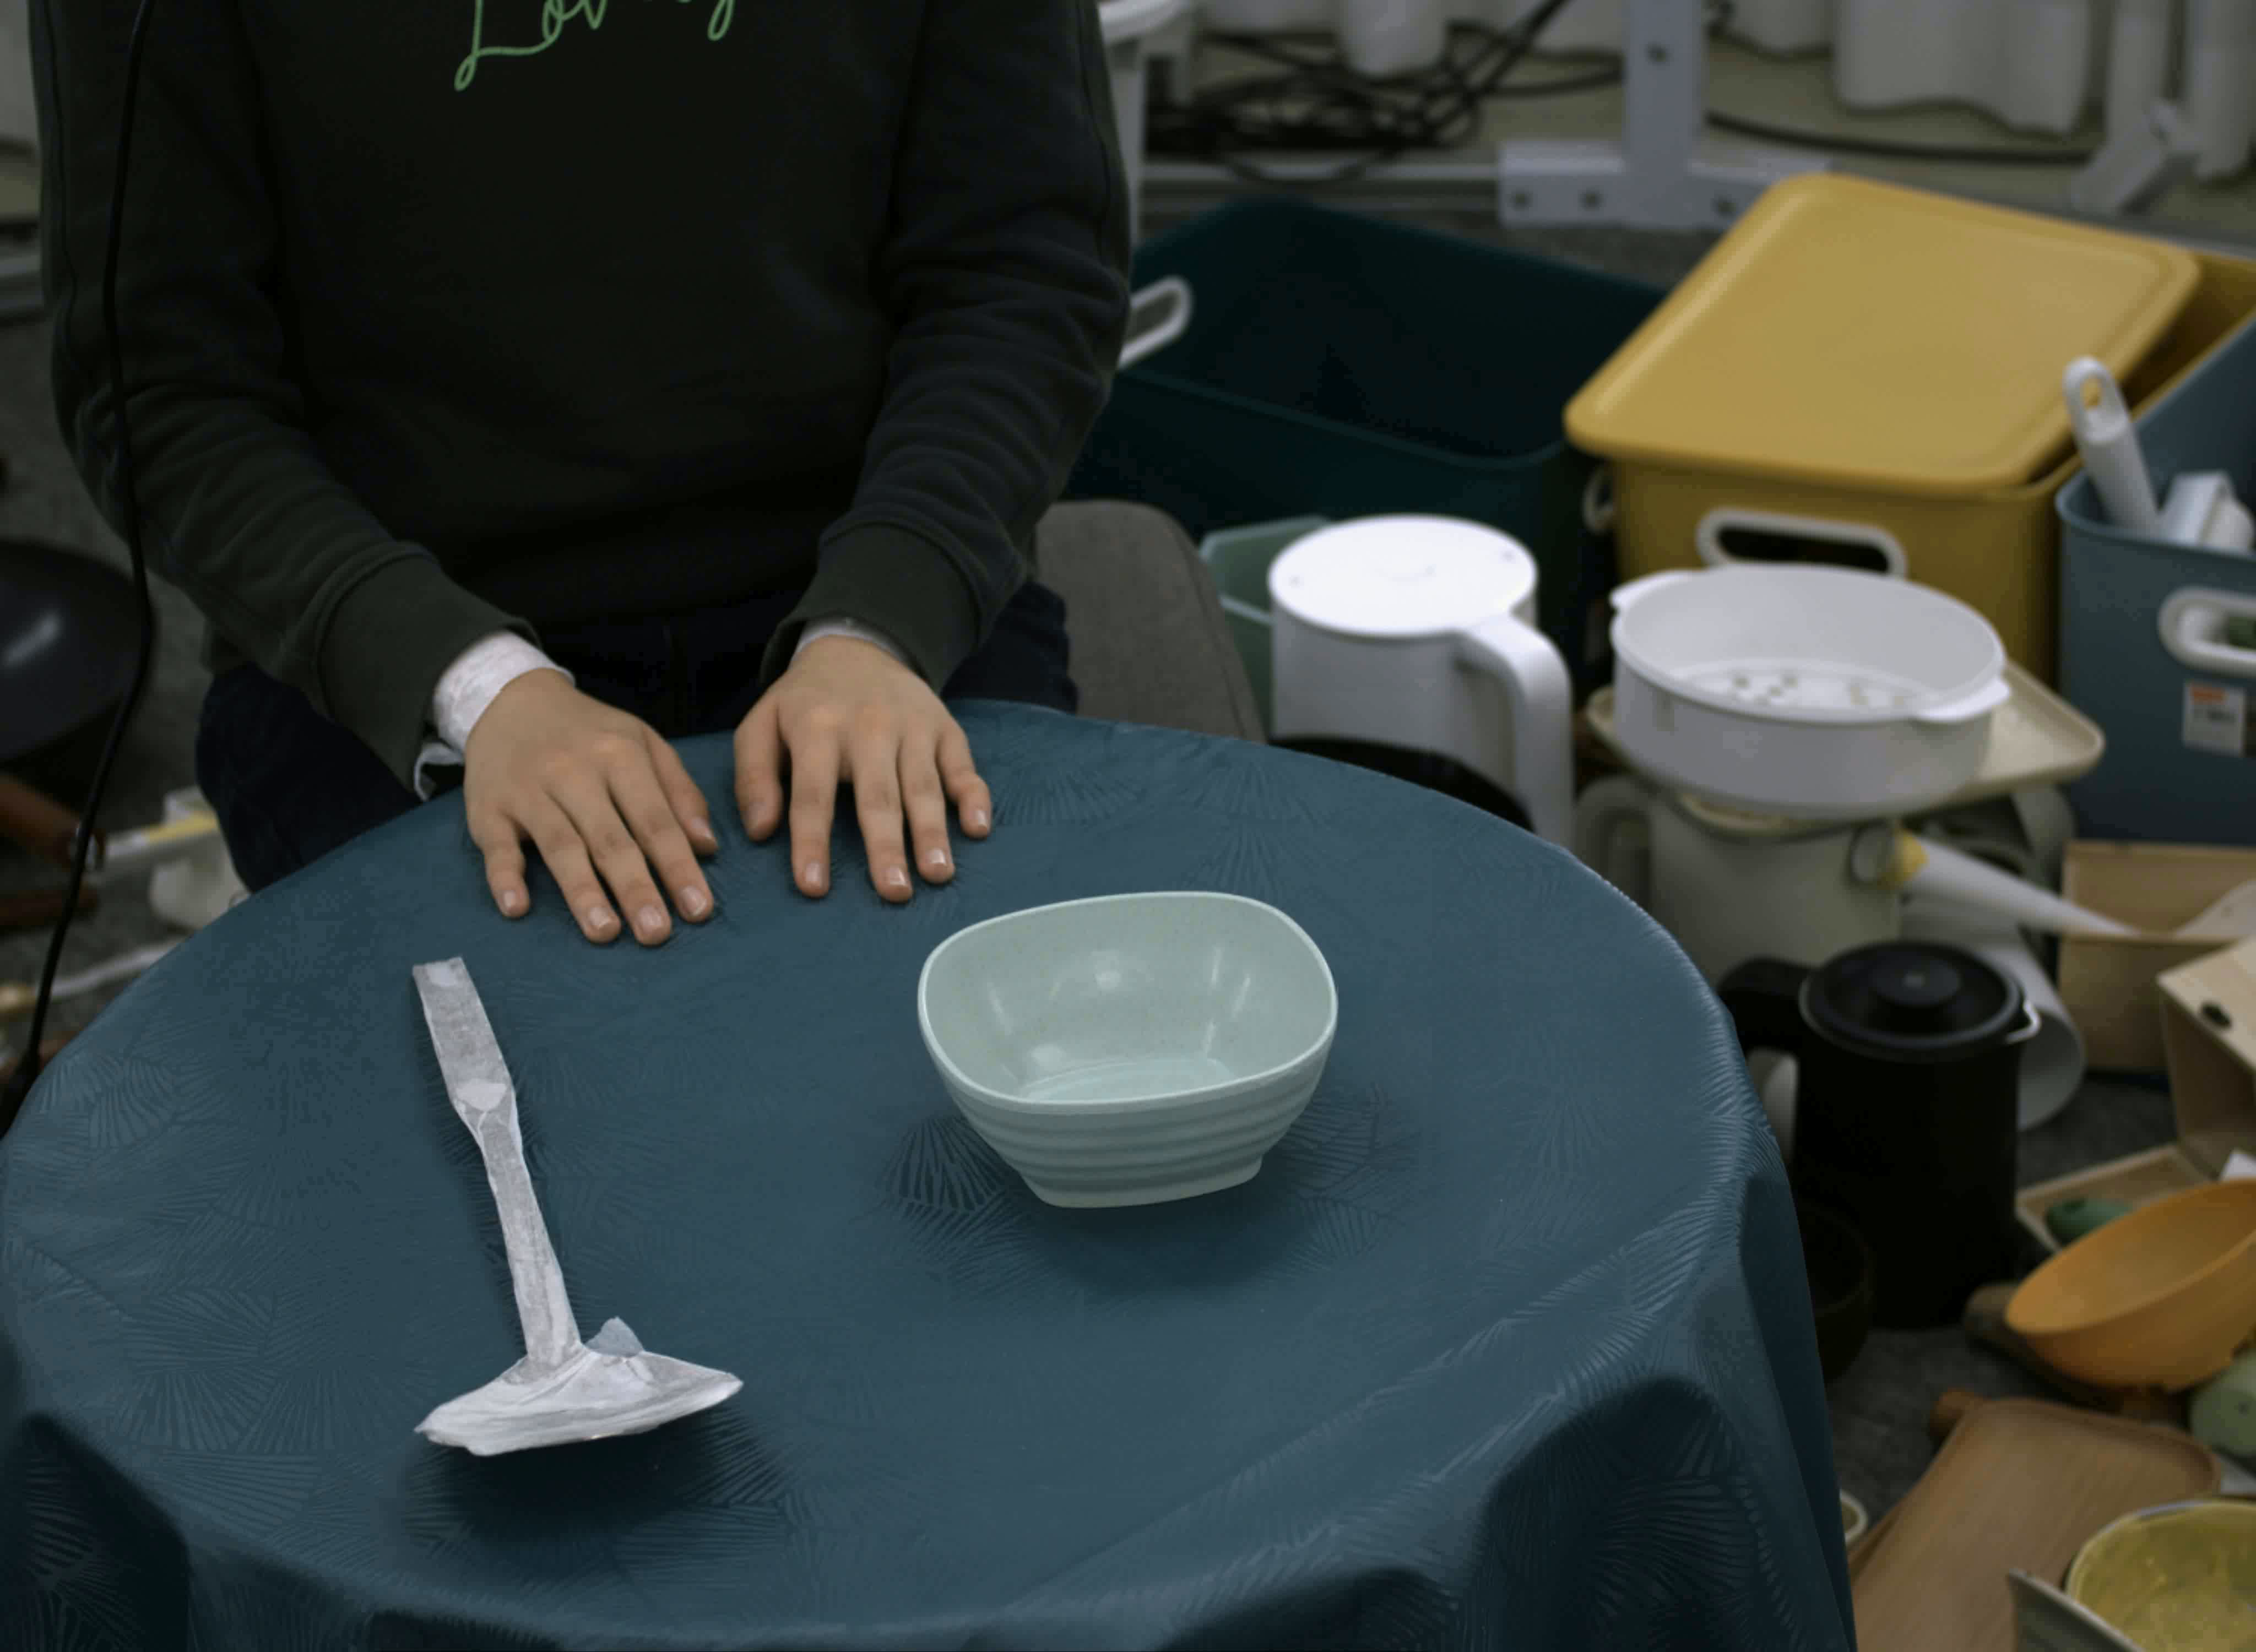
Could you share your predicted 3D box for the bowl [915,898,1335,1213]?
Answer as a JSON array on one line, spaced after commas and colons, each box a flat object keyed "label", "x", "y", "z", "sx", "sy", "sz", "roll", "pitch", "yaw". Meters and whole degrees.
[{"label": "bowl", "x": -0.001, "y": 0.083, "z": 1.879, "sx": 0.151, "sy": 0.058, "sz": 0.154, "roll": -1, "pitch": 27, "yaw": 1}]

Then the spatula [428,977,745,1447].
[{"label": "spatula", "x": -0.198, "y": 0.119, "z": 1.845, "sx": 0.098, "sy": 0.044, "sz": 0.369, "roll": -10, "pitch": 28, "yaw": -9}]
